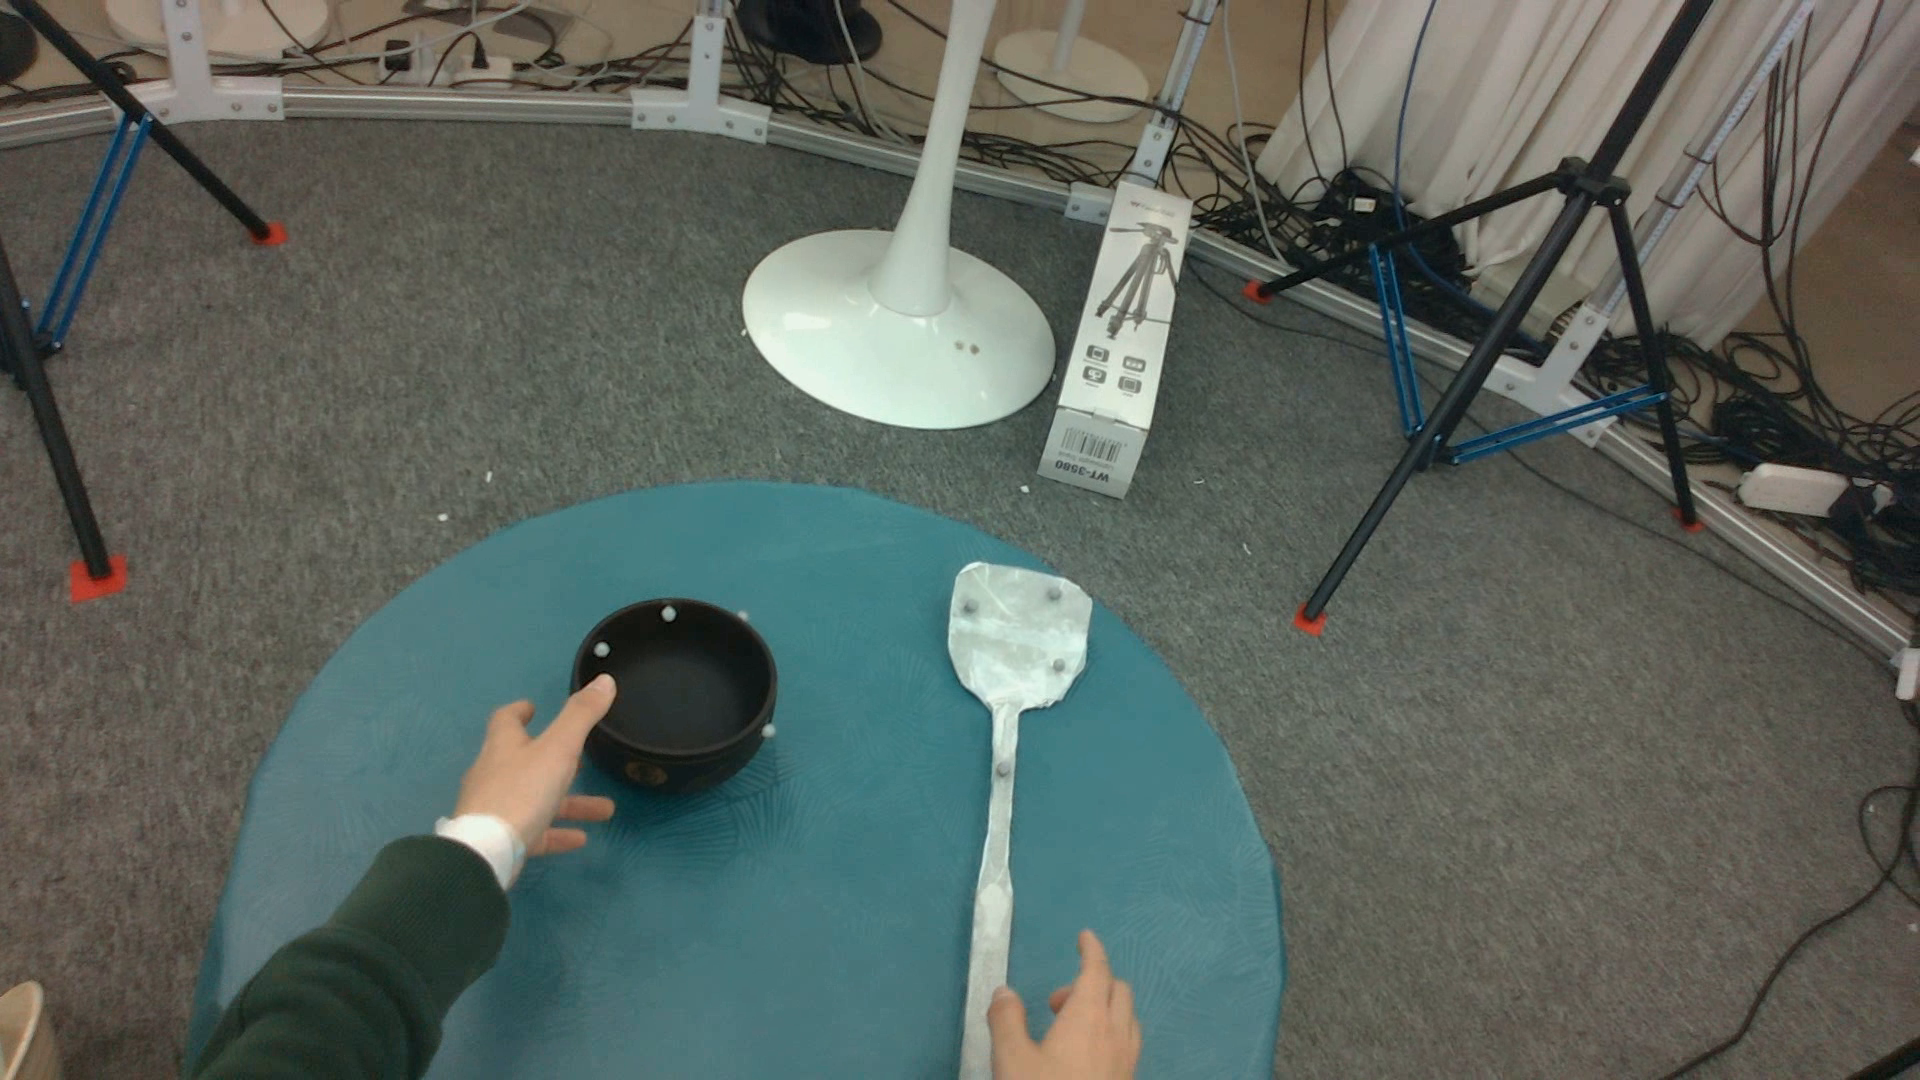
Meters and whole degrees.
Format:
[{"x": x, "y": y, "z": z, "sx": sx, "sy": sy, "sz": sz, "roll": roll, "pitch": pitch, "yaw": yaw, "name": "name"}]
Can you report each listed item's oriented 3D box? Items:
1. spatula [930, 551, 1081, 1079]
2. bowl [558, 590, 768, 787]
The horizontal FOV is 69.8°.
[{"x": 0.017, "y": 0.151, "z": 0.837, "sx": 0.099, "sy": 0.044, "sz": 0.367, "roll": 15, "pitch": 43, "yaw": -6, "name": "spatula"}, {"x": -0.174, "y": 0.094, "z": 0.807, "sx": 0.118, "sy": 0.069, "sz": 0.118, "roll": 8, "pitch": 45, "yaw": -8, "name": "bowl"}]
